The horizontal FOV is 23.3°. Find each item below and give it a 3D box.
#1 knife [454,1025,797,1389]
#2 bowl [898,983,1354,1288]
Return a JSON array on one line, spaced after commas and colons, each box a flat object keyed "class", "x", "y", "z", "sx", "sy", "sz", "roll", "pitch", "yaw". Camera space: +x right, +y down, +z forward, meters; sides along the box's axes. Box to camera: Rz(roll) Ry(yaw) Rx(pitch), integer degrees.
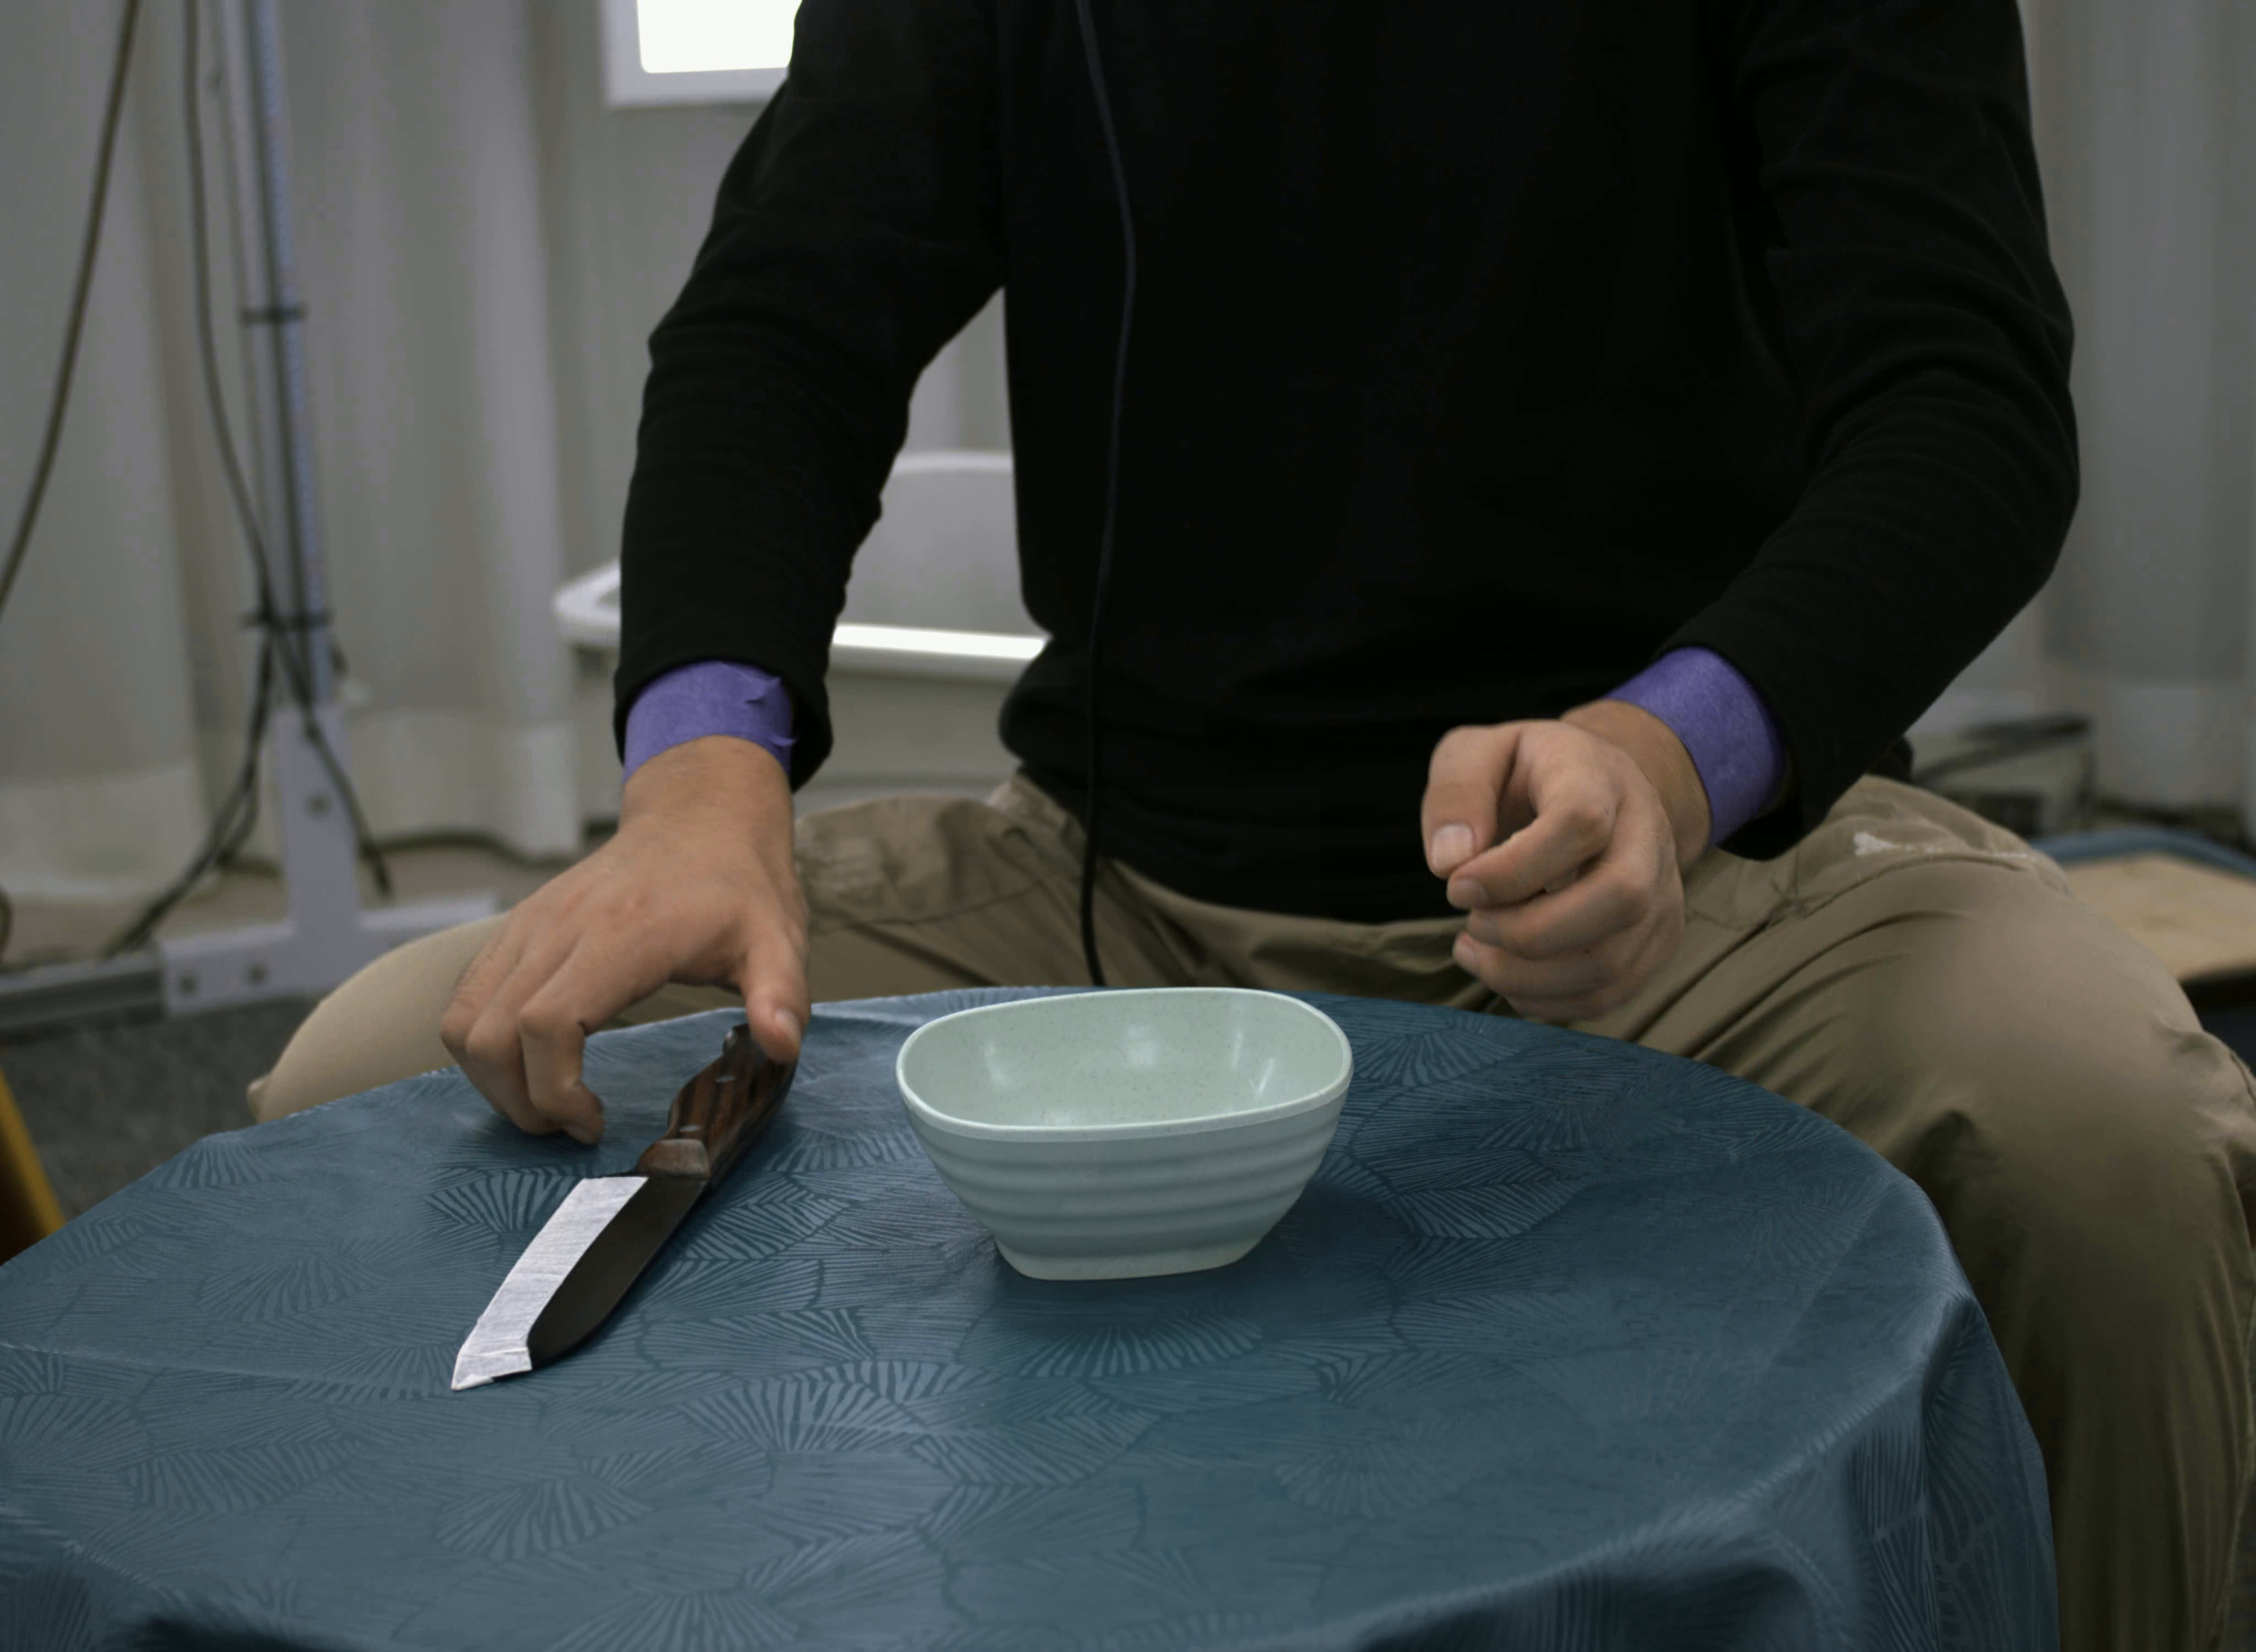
[{"class": "knife", "x": -0.153, "y": 0.118, "z": 1.703, "sx": 0.050, "sy": 0.020, "sz": 0.290, "roll": -4, "pitch": 17, "yaw": 16}, {"class": "bowl", "x": 0.000, "y": 0.098, "z": 1.670, "sx": 0.151, "sy": 0.058, "sz": 0.152, "roll": -3, "pitch": 17, "yaw": 1}]
